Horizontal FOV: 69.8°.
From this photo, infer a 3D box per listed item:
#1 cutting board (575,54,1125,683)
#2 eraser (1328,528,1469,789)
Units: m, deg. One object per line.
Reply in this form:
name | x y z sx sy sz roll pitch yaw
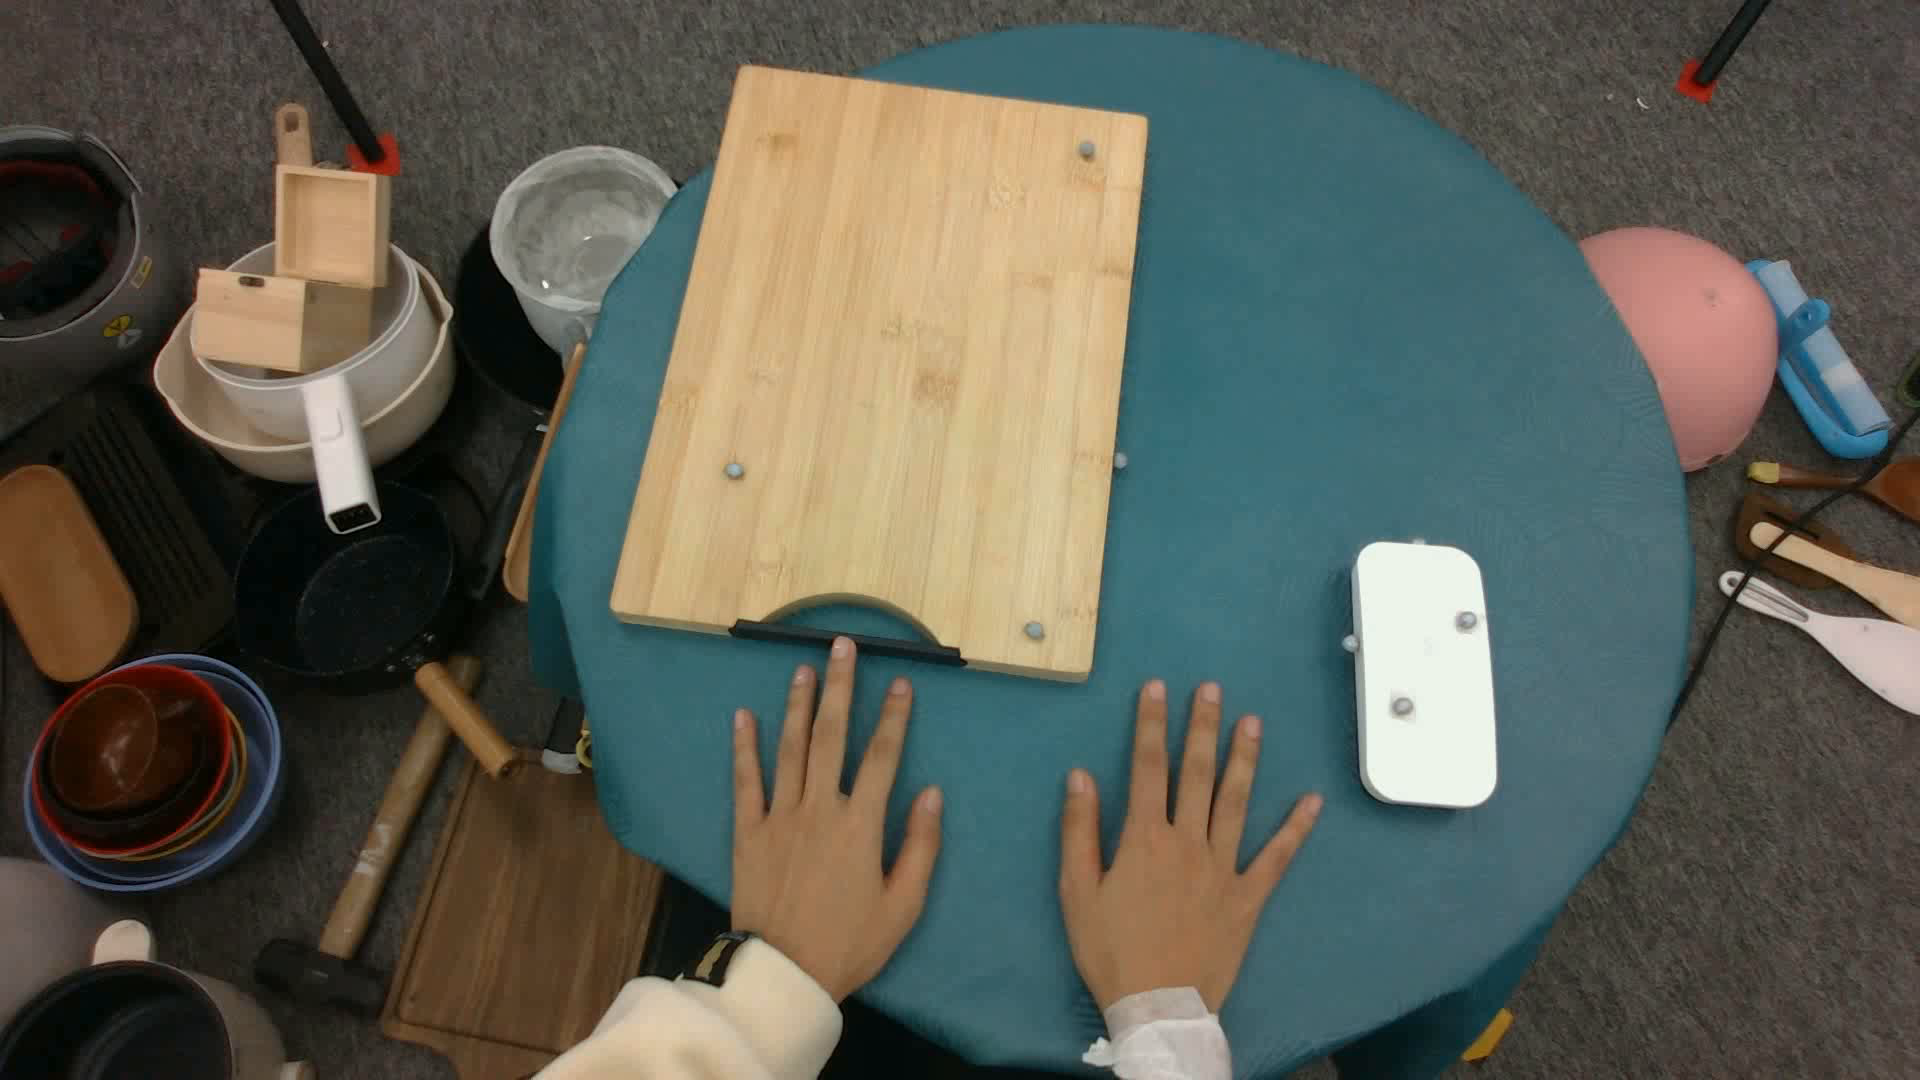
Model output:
cutting board | -0.047 -0.105 0.742 0.251 0.023 0.350 6 68 0
eraser | 0.213 0.057 0.679 0.063 0.034 0.132 5 67 0
